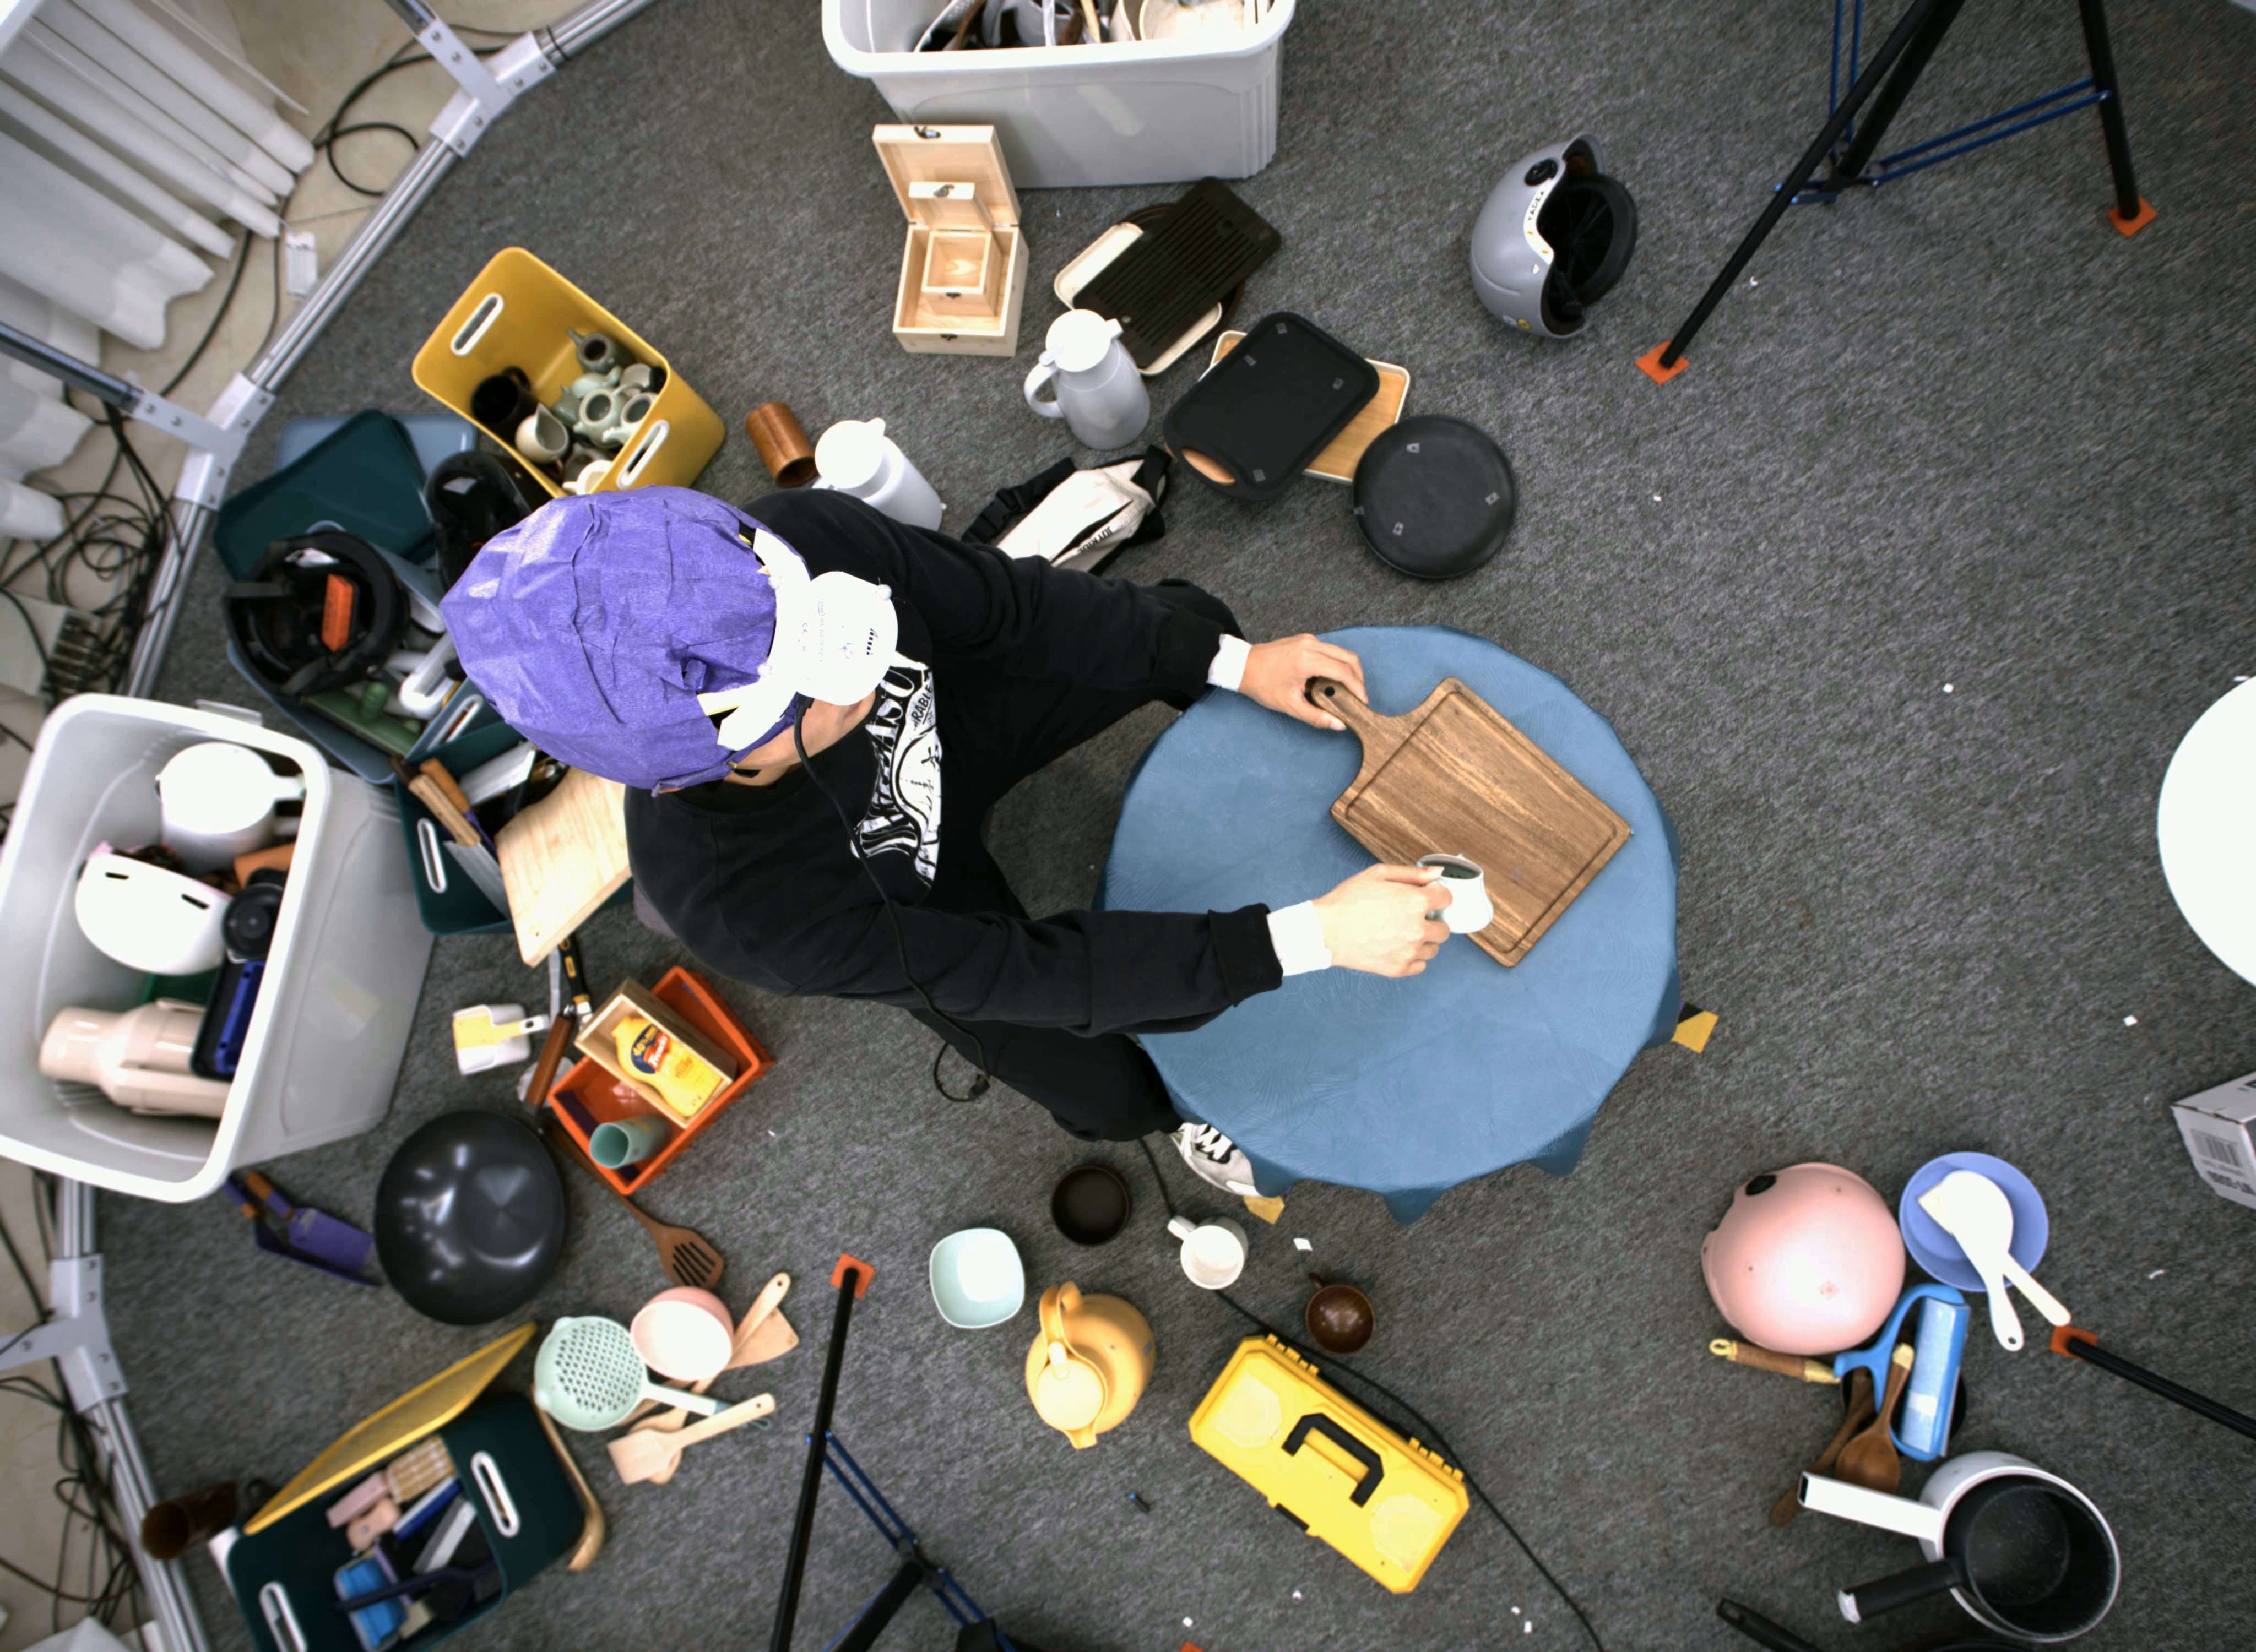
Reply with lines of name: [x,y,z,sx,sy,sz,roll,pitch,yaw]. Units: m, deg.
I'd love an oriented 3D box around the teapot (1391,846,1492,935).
teapot: [0.299,0.064,1.308,0.096,0.134,0.062,18,115,23]

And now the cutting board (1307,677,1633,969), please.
cutting board: [0.327,-0.038,1.430,0.351,0.023,0.202,41,95,5]
